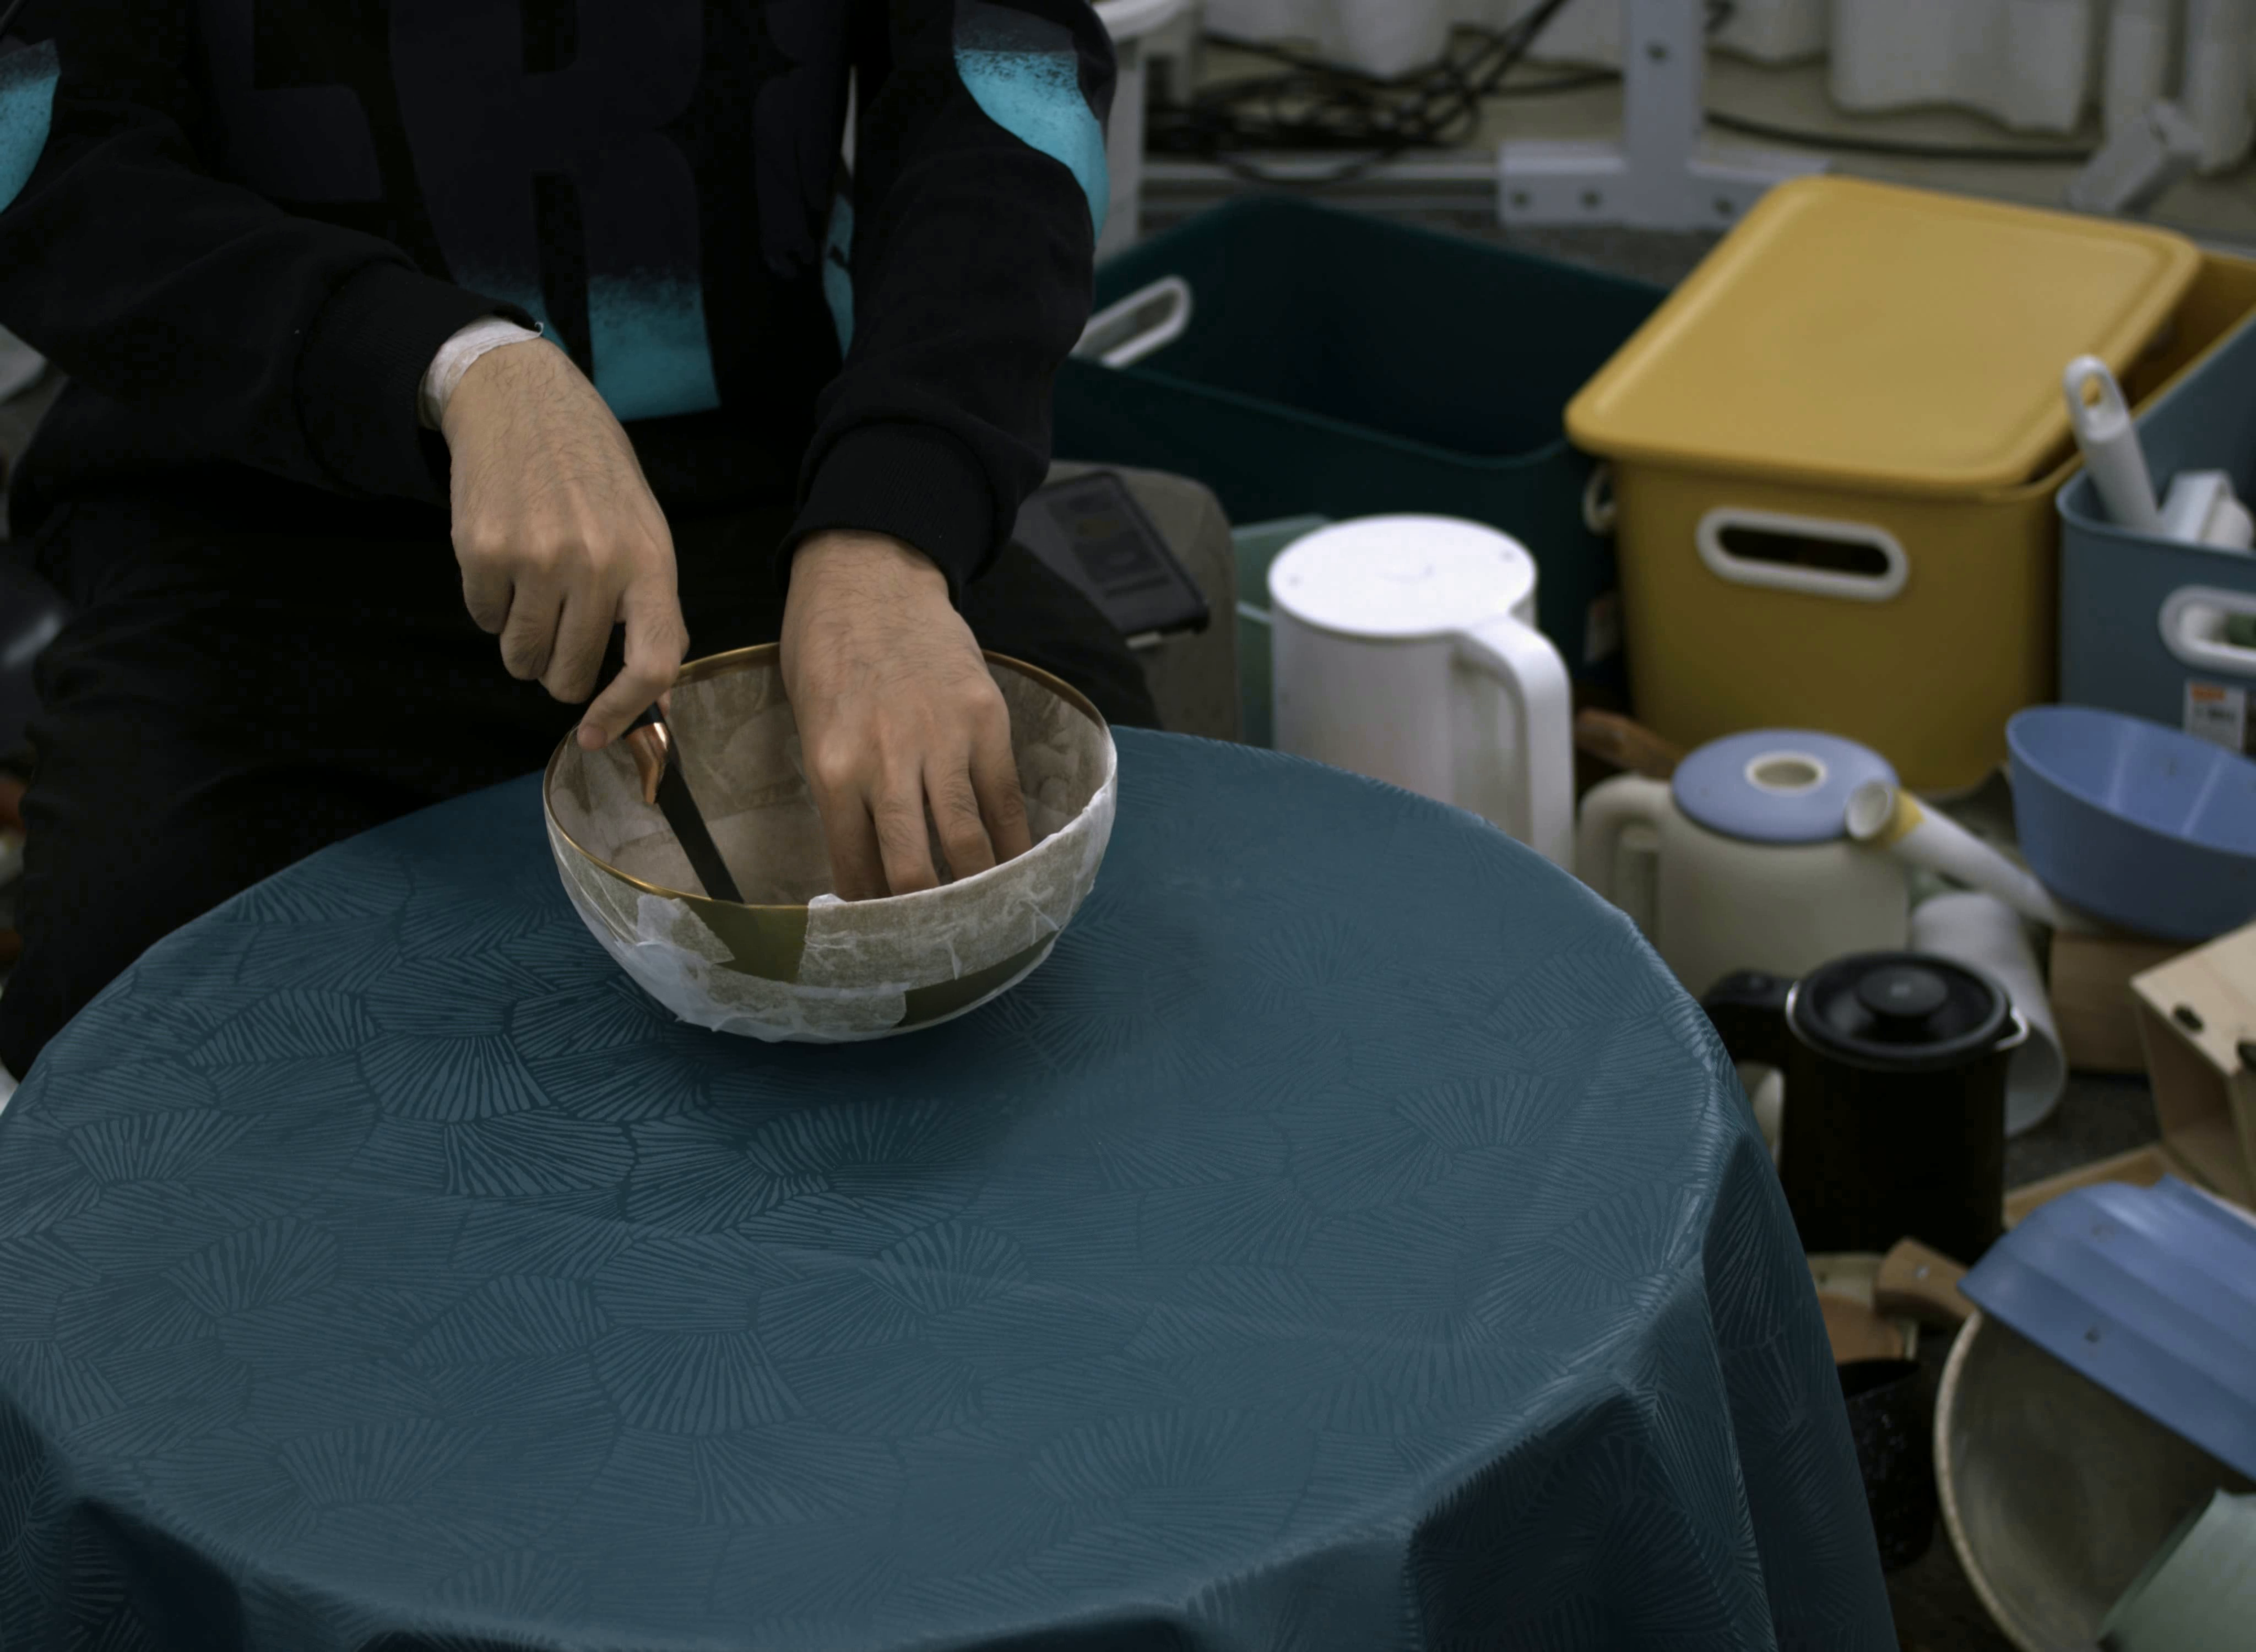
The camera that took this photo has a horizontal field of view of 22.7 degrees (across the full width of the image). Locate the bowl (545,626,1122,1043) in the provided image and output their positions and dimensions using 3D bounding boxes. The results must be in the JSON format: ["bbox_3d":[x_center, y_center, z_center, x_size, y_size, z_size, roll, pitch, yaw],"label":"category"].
[{"bbox_3d":[-0.102,0.014,1.975,0.213,0.093,0.218,-3,29,2],"label":"bowl"}]

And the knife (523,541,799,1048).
[{"bbox_3d":[-0.162,-0.013,1.966,0.017,0.026,0.228,-14,56,-27],"label":"knife"}]
